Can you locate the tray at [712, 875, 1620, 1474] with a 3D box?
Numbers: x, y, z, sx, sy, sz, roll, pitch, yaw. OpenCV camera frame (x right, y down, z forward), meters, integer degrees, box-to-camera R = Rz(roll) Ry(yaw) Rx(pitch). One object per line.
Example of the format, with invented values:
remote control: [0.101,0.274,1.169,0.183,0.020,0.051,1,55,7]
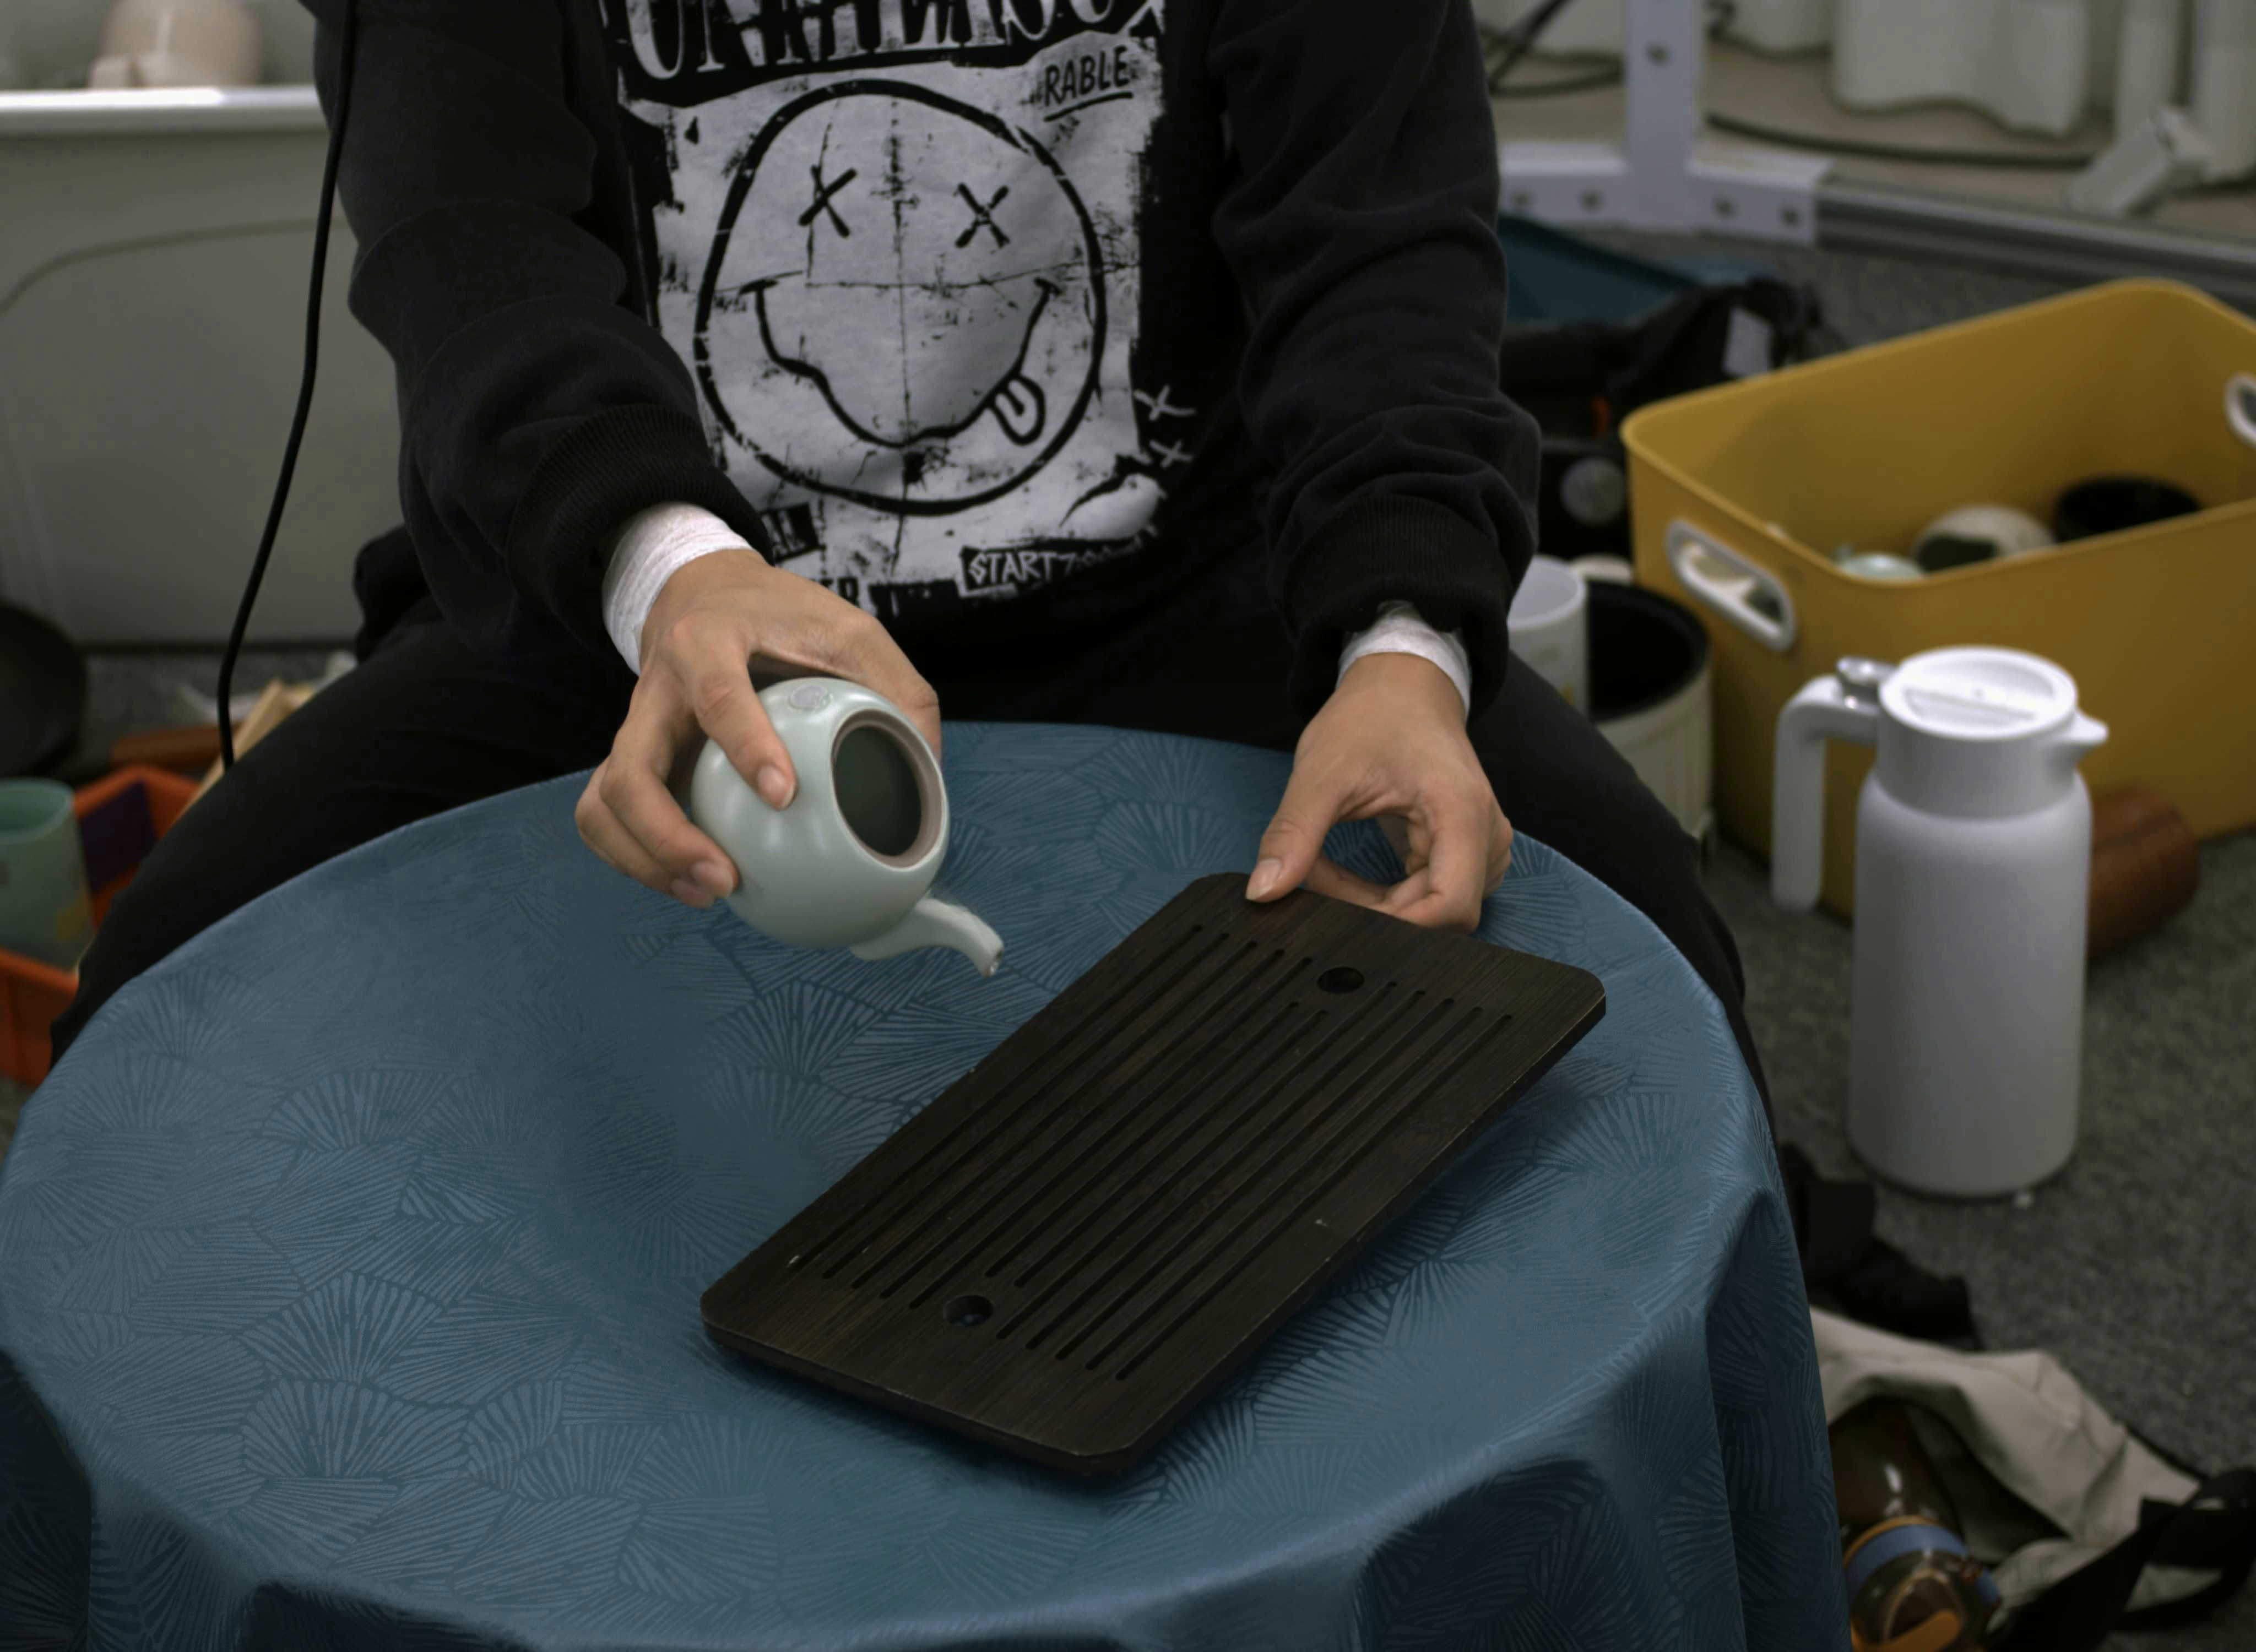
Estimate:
tray: [0.017,0.110,1.840,0.169,0.018,0.311,15,35,32]

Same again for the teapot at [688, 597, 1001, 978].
teapot: [-0.099,-0.006,1.816,0.074,0.143,0.090,-17,17,35]
